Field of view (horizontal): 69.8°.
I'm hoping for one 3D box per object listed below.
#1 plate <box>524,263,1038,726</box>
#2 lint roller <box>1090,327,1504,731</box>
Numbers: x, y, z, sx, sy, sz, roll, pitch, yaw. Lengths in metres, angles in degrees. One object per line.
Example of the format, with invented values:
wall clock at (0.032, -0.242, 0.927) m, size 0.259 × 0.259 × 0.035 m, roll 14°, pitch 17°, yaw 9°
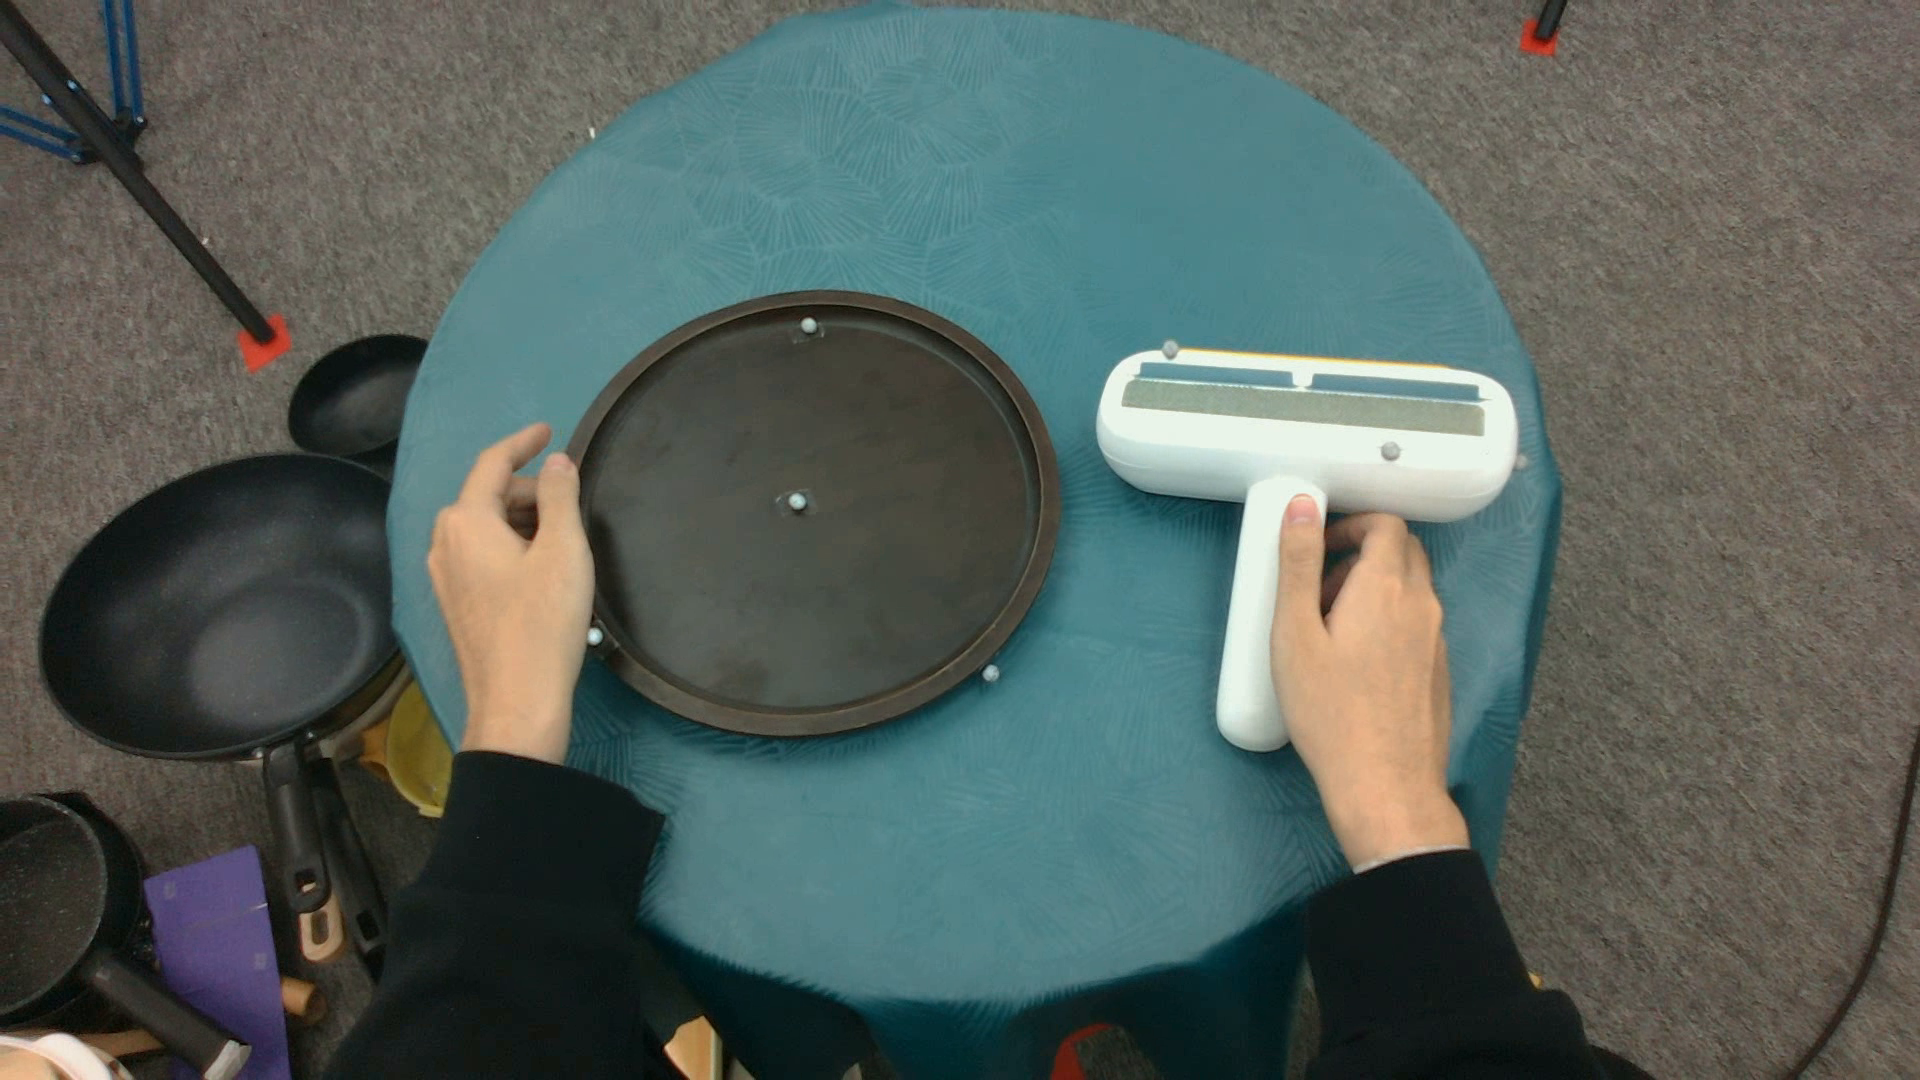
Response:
plate at (-0.088, -0.027, 0.687) m, size 0.255 × 0.029 × 0.255 m, roll 0°, pitch 64°, yaw 1°
lint roller at (0.142, -0.007, 0.645) m, size 0.193 × 0.074 × 0.193 m, roll 12°, pitch 65°, yaw 14°
